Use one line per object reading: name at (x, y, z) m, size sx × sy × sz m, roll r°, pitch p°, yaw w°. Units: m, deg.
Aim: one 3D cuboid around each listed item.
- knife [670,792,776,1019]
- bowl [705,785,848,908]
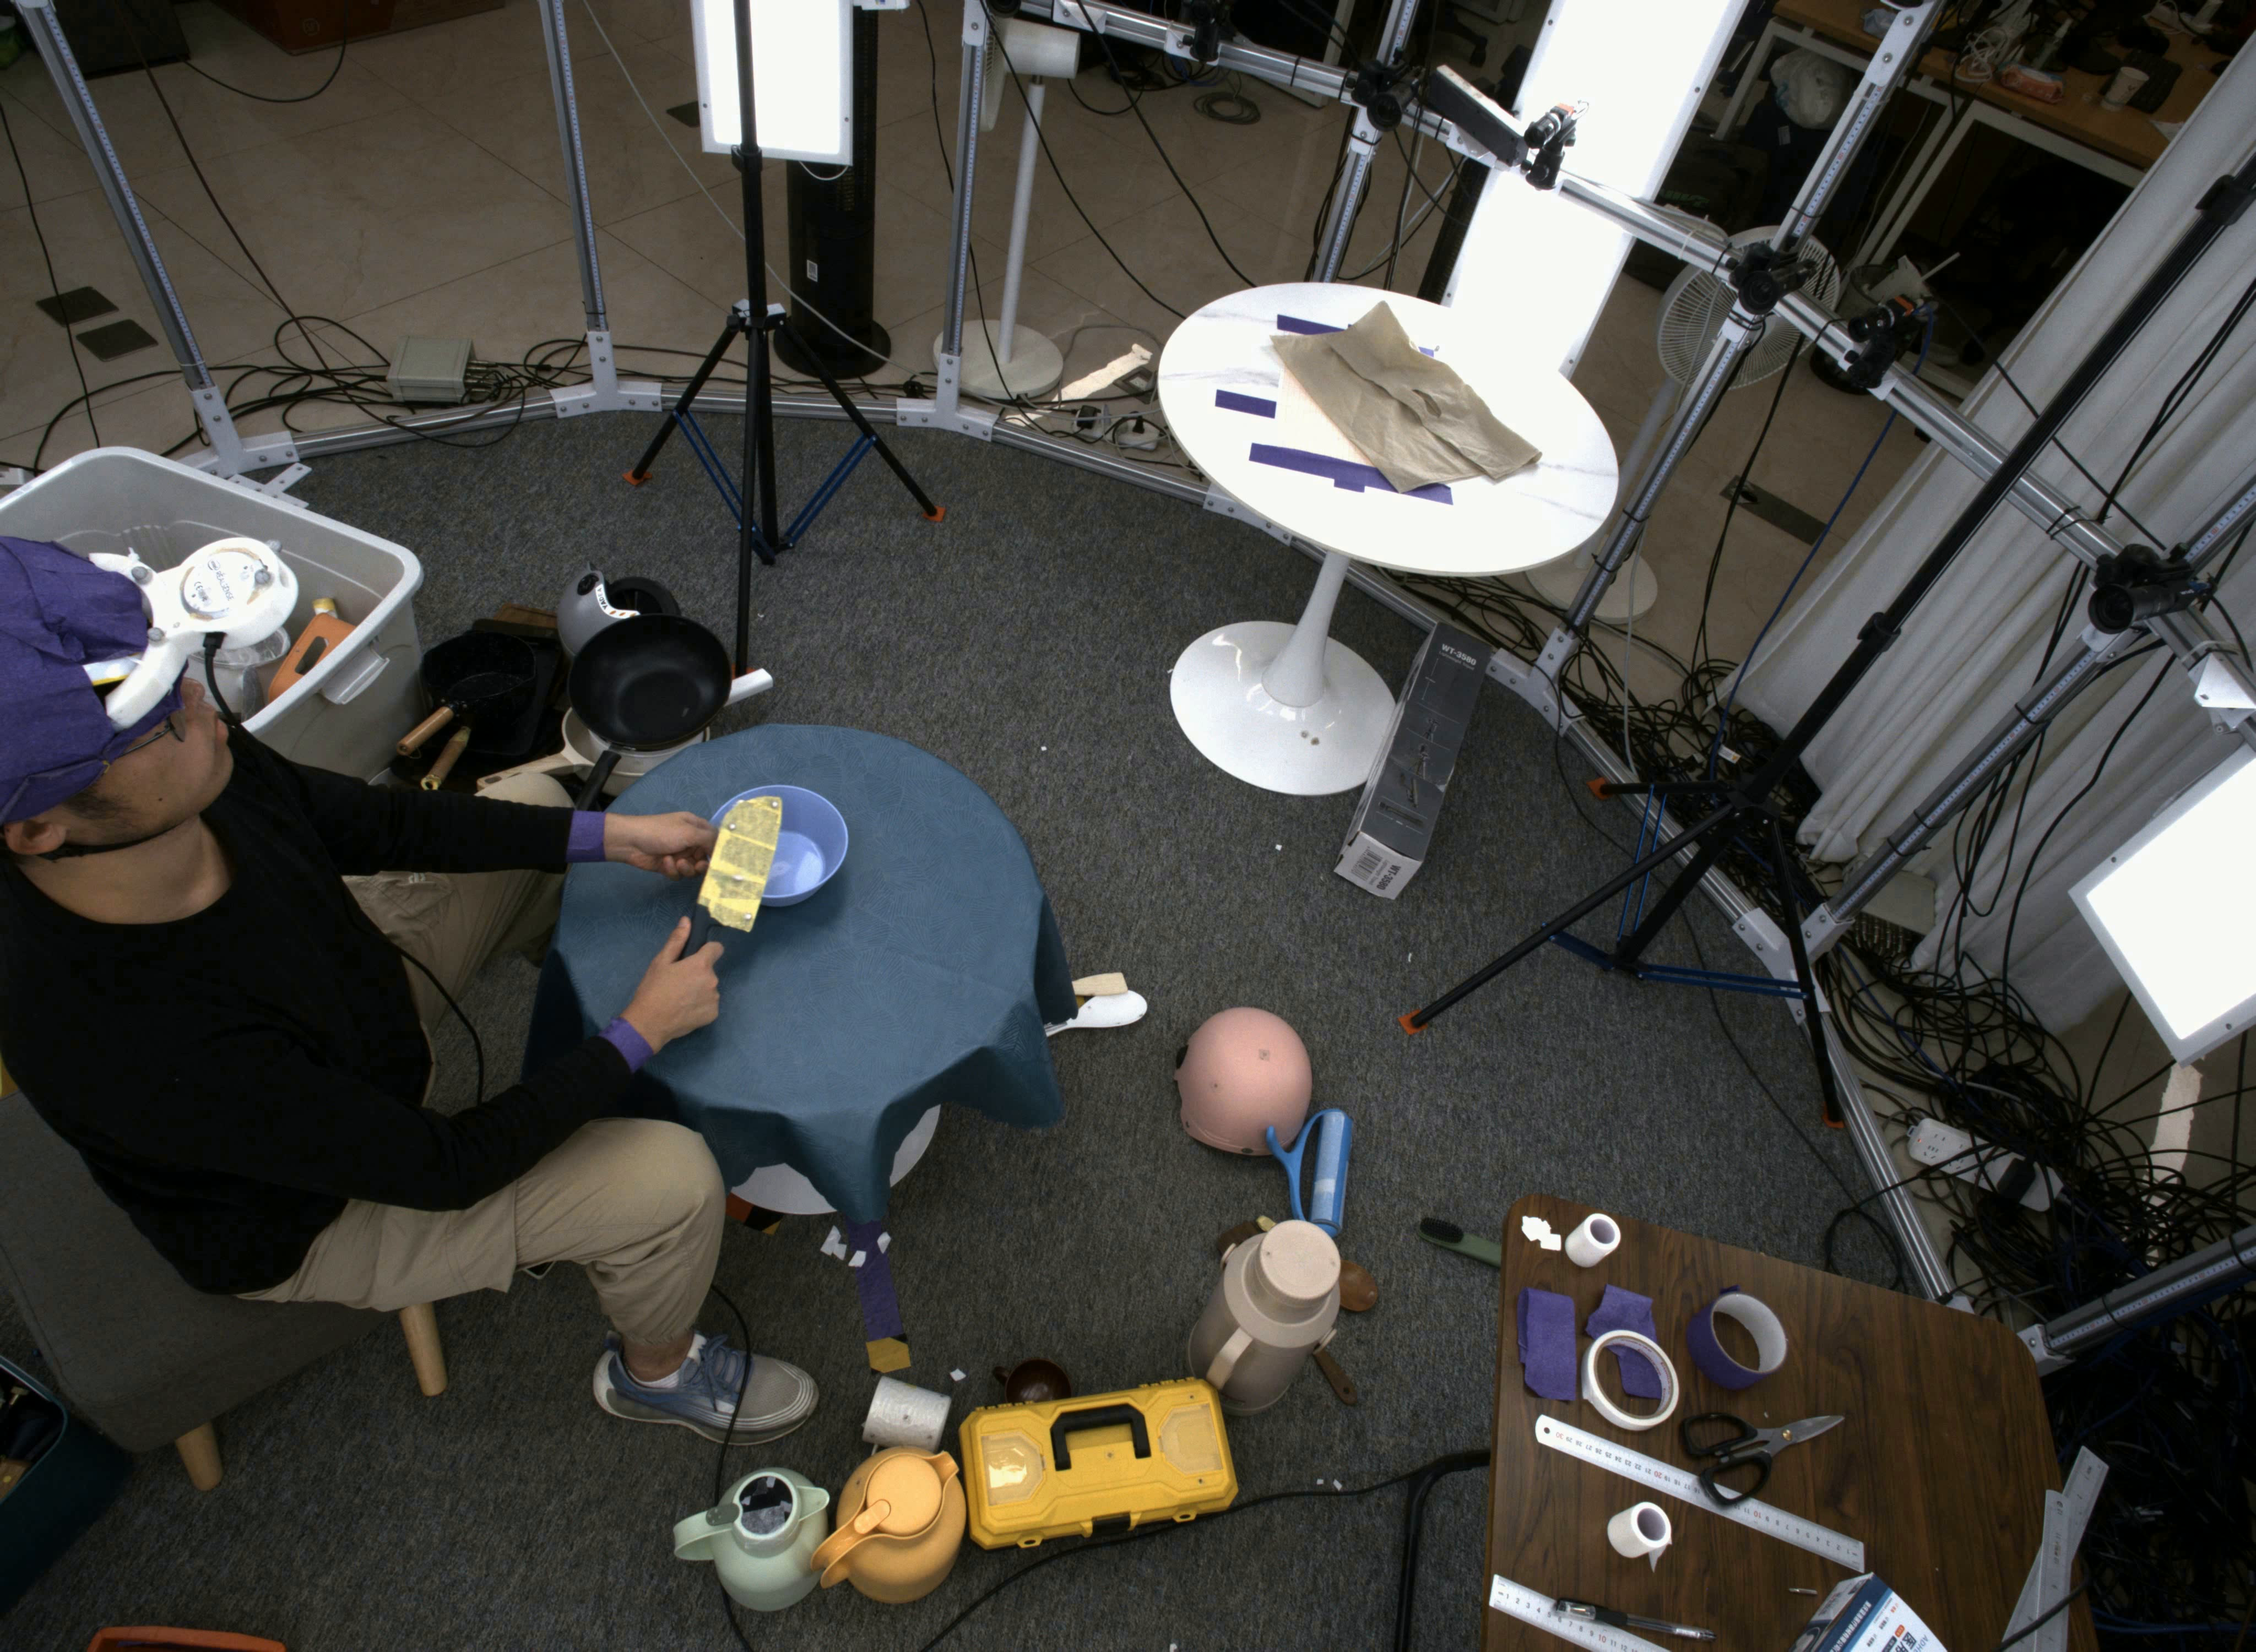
knife at (-0.483, 0.092, 1.542) m, size 0.083 × 0.026 × 0.289 m, roll 24°, pitch 71°, yaw -27°
bowl at (-0.444, 0.036, 1.645) m, size 0.176 × 0.071 × 0.173 m, roll 8°, pitch 53°, yaw -9°
